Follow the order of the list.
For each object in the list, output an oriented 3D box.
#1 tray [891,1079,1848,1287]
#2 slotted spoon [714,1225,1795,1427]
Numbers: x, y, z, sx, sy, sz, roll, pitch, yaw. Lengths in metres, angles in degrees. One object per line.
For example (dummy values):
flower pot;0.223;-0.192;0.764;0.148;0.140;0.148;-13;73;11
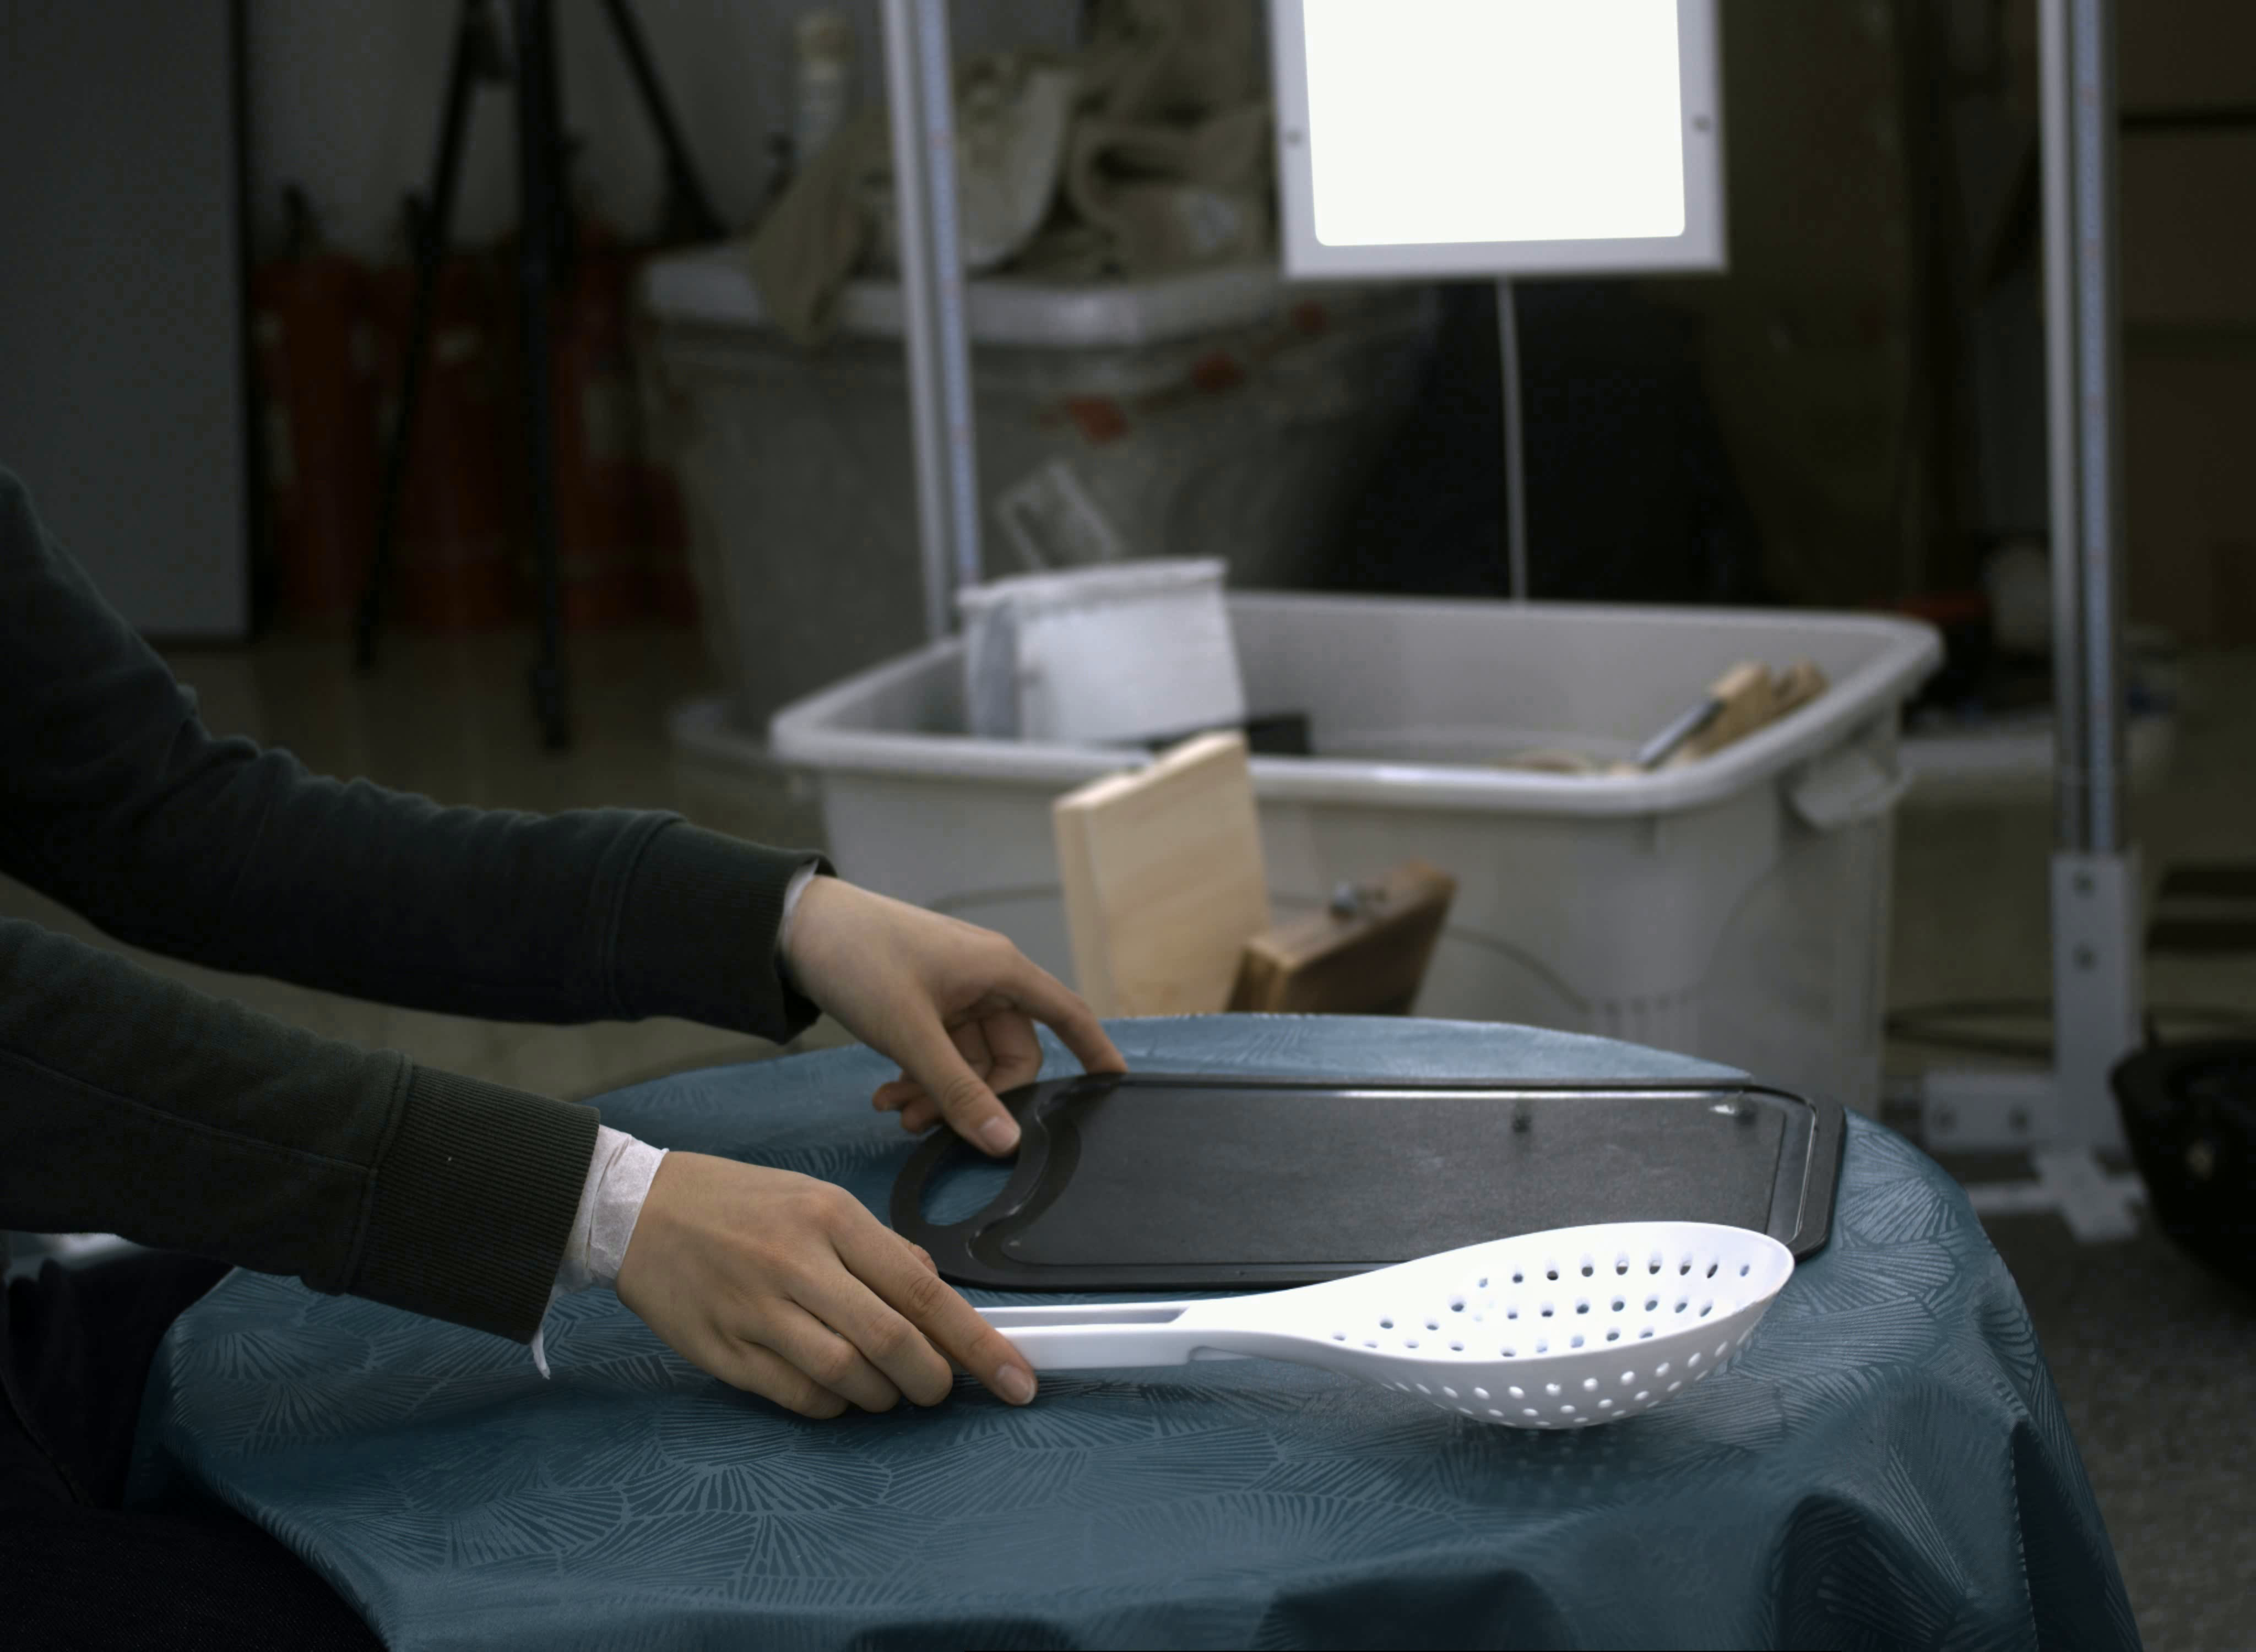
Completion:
tray;0.081;0.119;1.877;0.328;0.010;0.208;-2;15;12
slotted spoon;0.033;0.153;1.682;0.355;0.046;0.133;0;12;23
